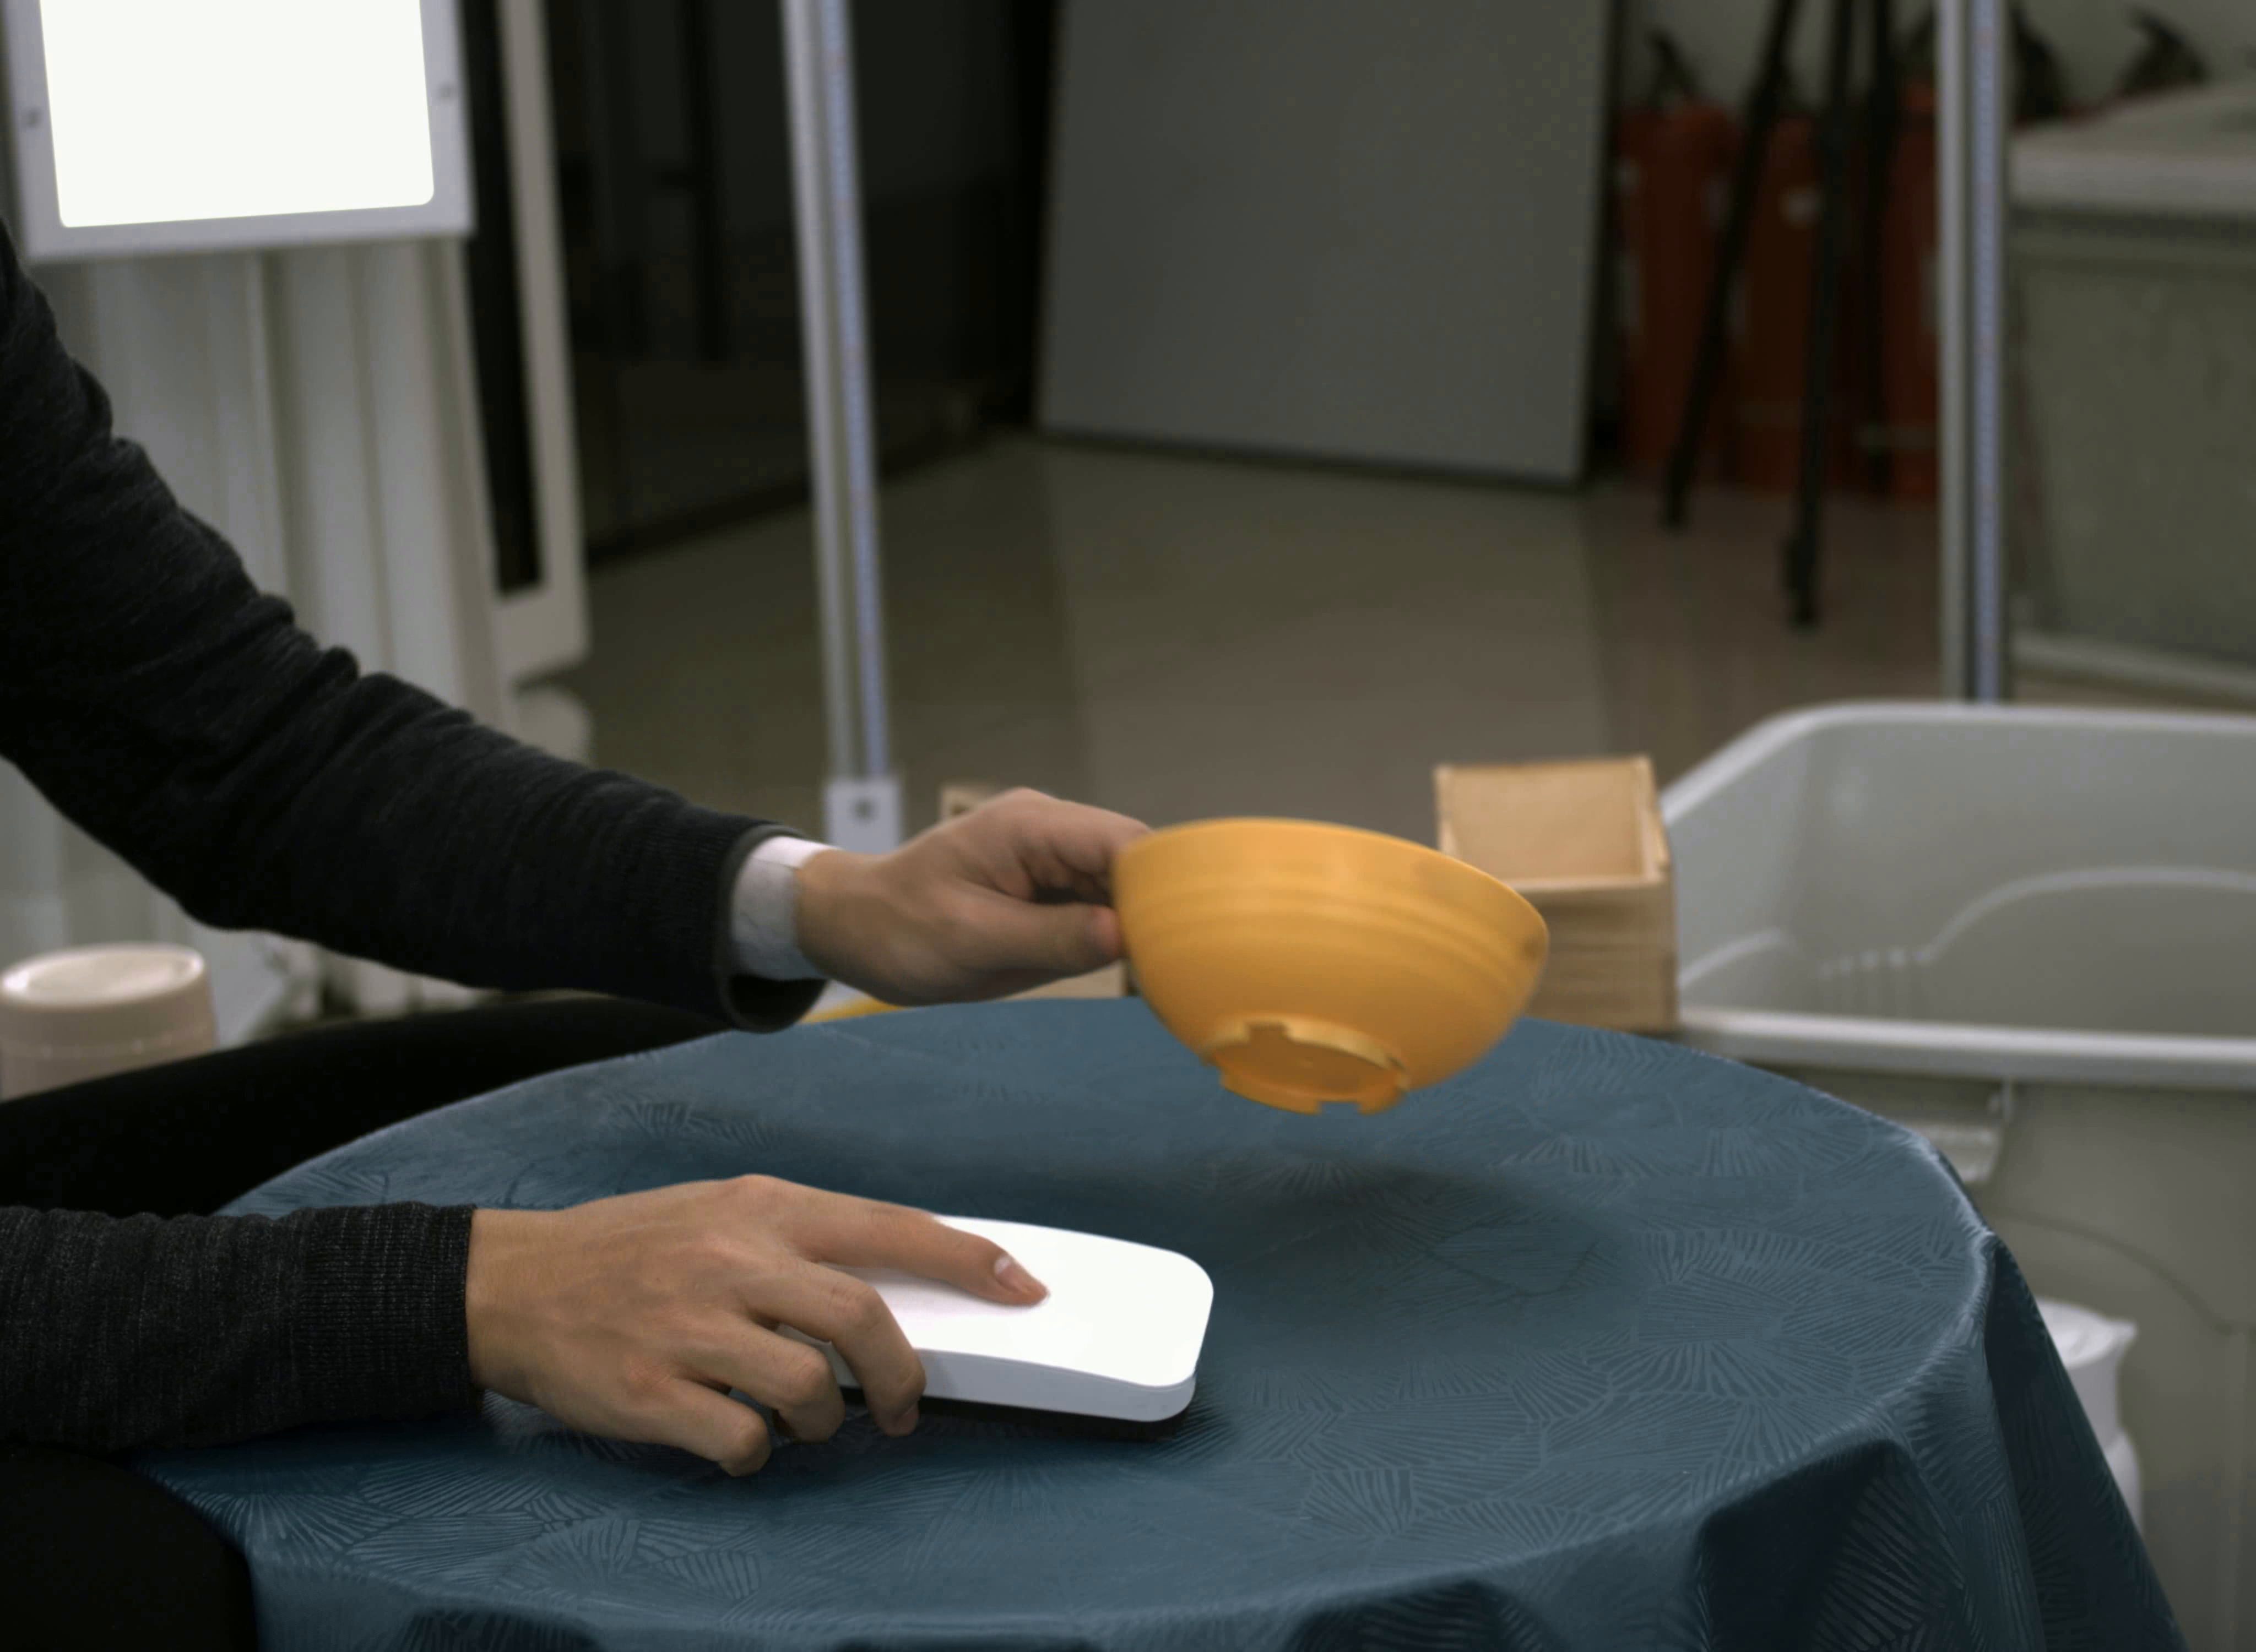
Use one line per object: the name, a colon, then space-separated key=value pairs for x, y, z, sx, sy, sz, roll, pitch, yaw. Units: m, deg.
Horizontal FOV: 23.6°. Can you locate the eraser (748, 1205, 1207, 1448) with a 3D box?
eraser: x=-0.043 y=0.144 z=1.565 sx=0.130 sy=0.035 sz=0.063 roll=7 pitch=33 yaw=9

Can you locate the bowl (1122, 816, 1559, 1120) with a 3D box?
bowl: x=0.063 y=0.054 z=1.717 sx=0.144 sy=0.060 sz=0.145 roll=10 pitch=-22 yaw=3
